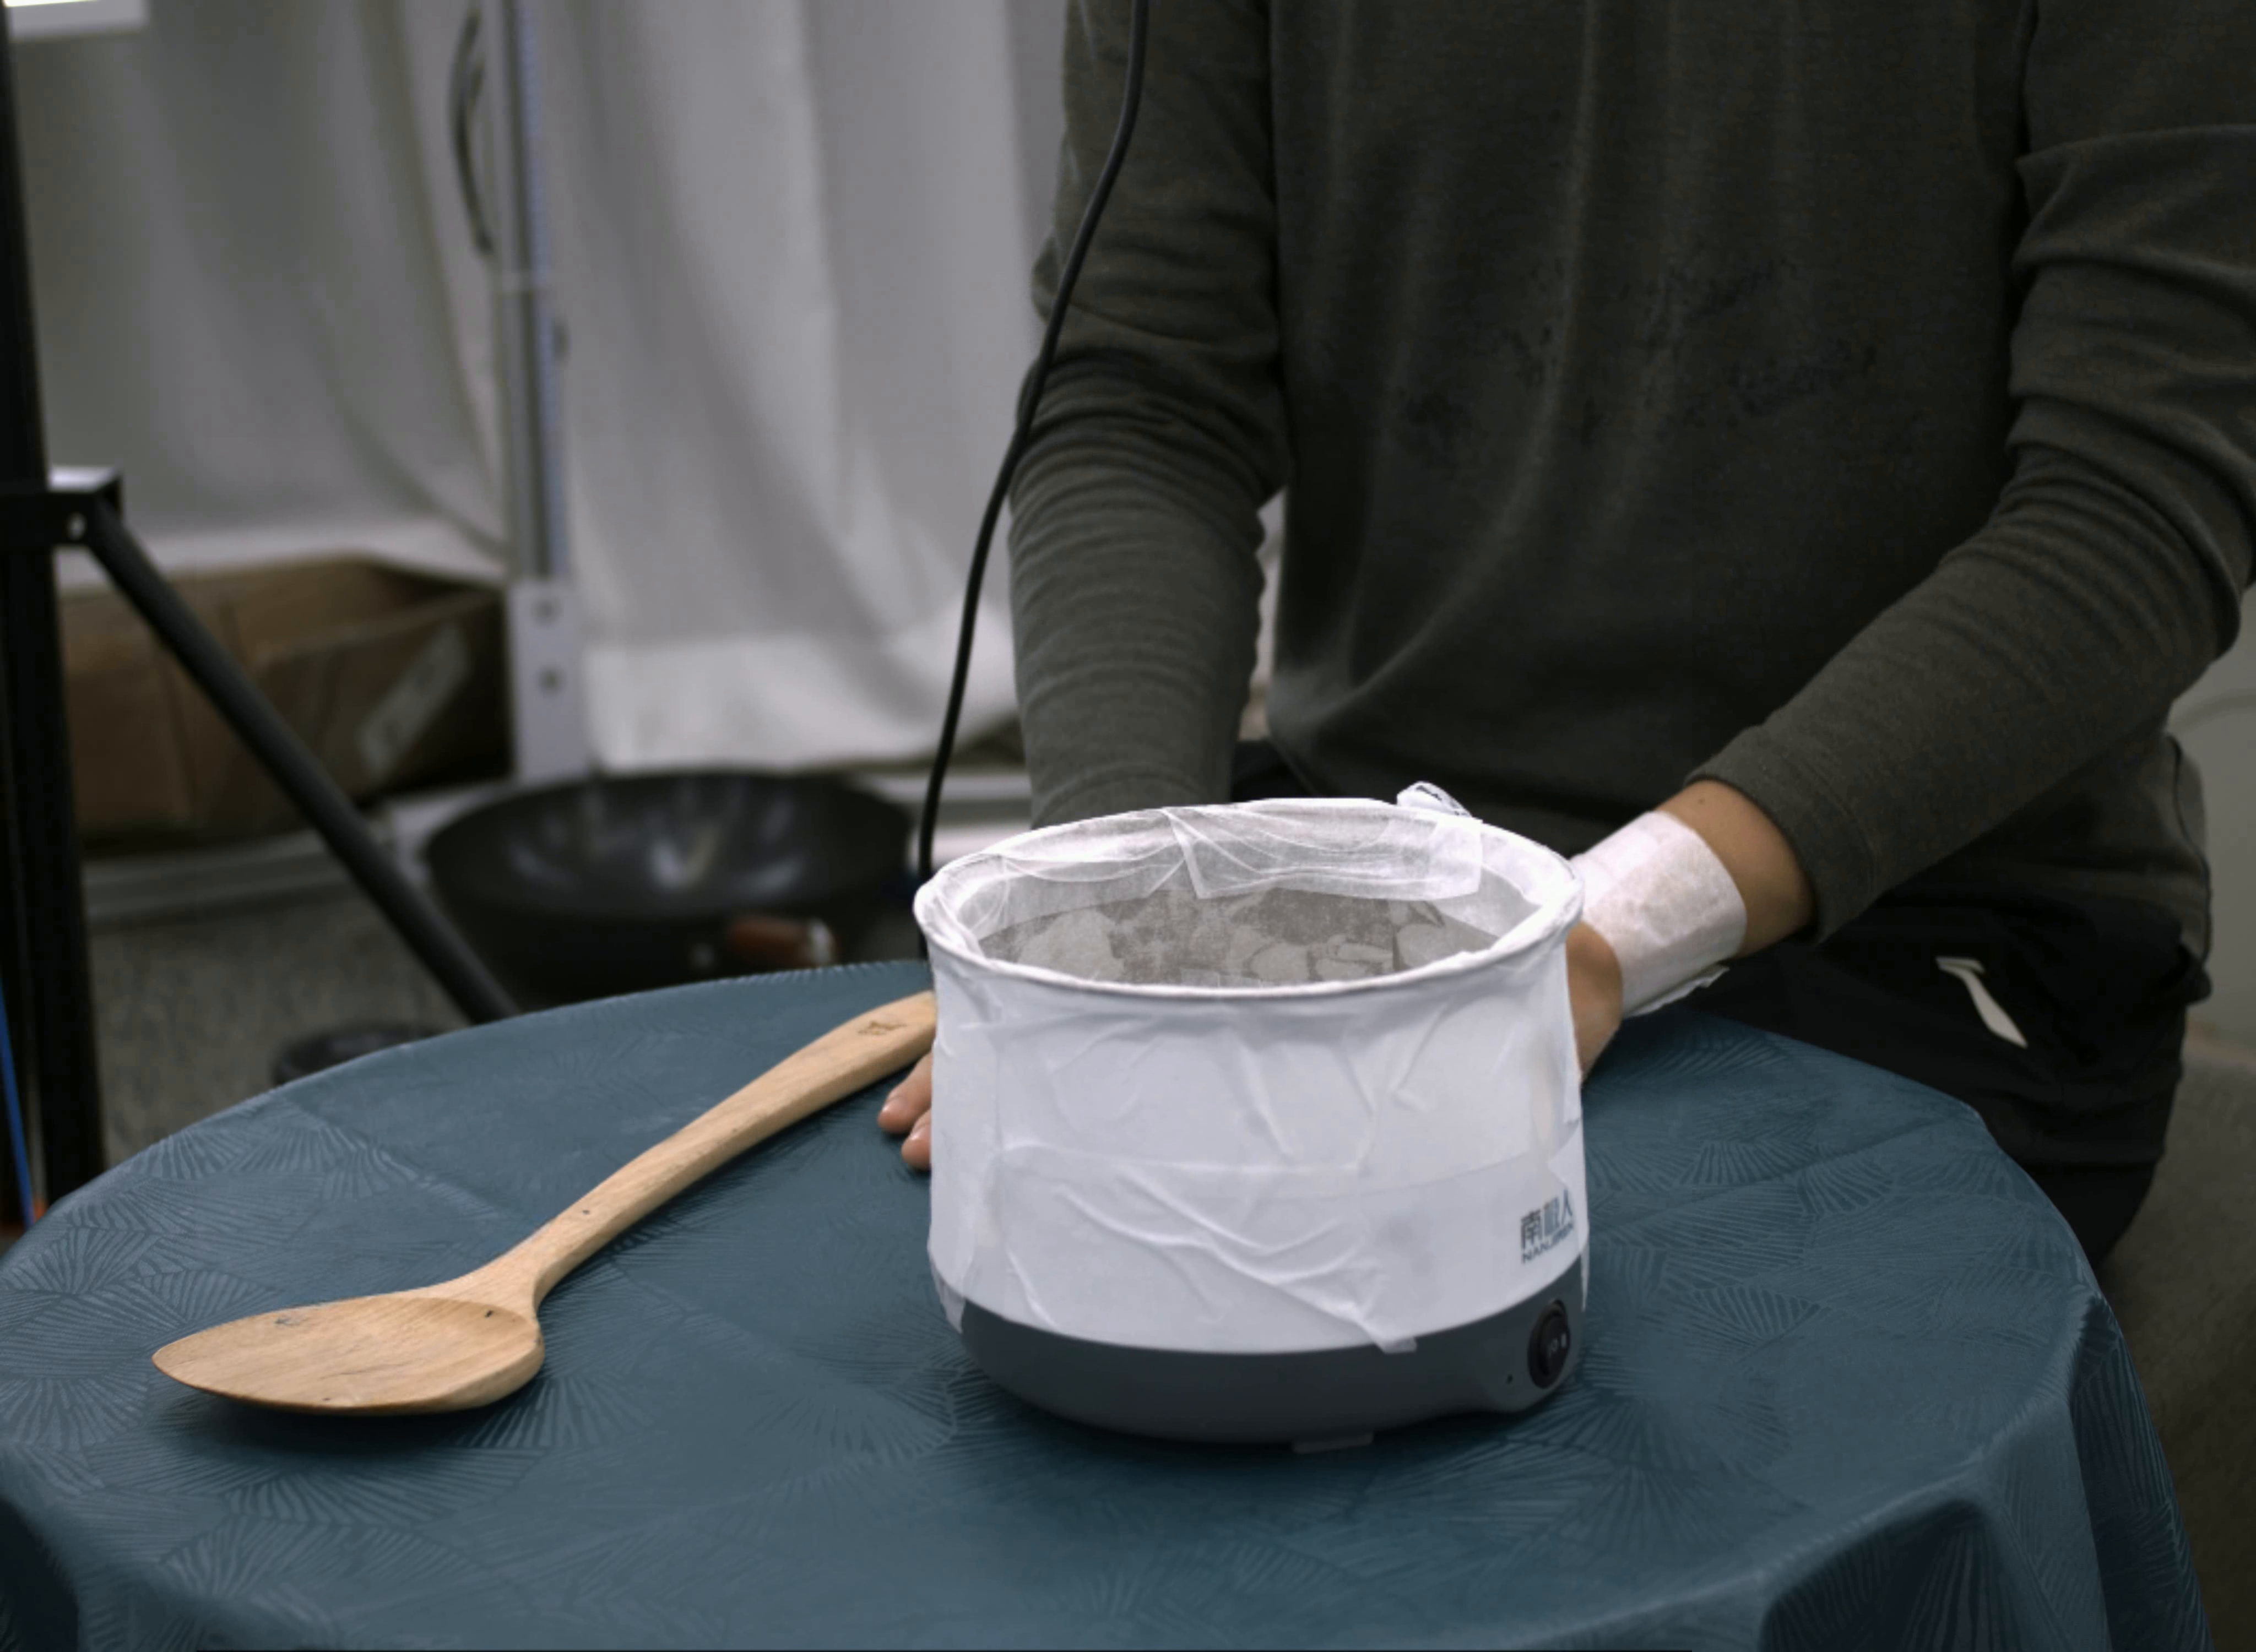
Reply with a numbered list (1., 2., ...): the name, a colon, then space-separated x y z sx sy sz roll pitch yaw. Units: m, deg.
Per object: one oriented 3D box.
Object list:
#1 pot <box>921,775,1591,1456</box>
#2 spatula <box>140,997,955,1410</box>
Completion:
1. pot: 0.049 0.070 1.432 0.182 0.136 0.229 8 19 30
2. spatula: -0.147 0.105 1.564 0.097 0.018 0.385 7 18 24
